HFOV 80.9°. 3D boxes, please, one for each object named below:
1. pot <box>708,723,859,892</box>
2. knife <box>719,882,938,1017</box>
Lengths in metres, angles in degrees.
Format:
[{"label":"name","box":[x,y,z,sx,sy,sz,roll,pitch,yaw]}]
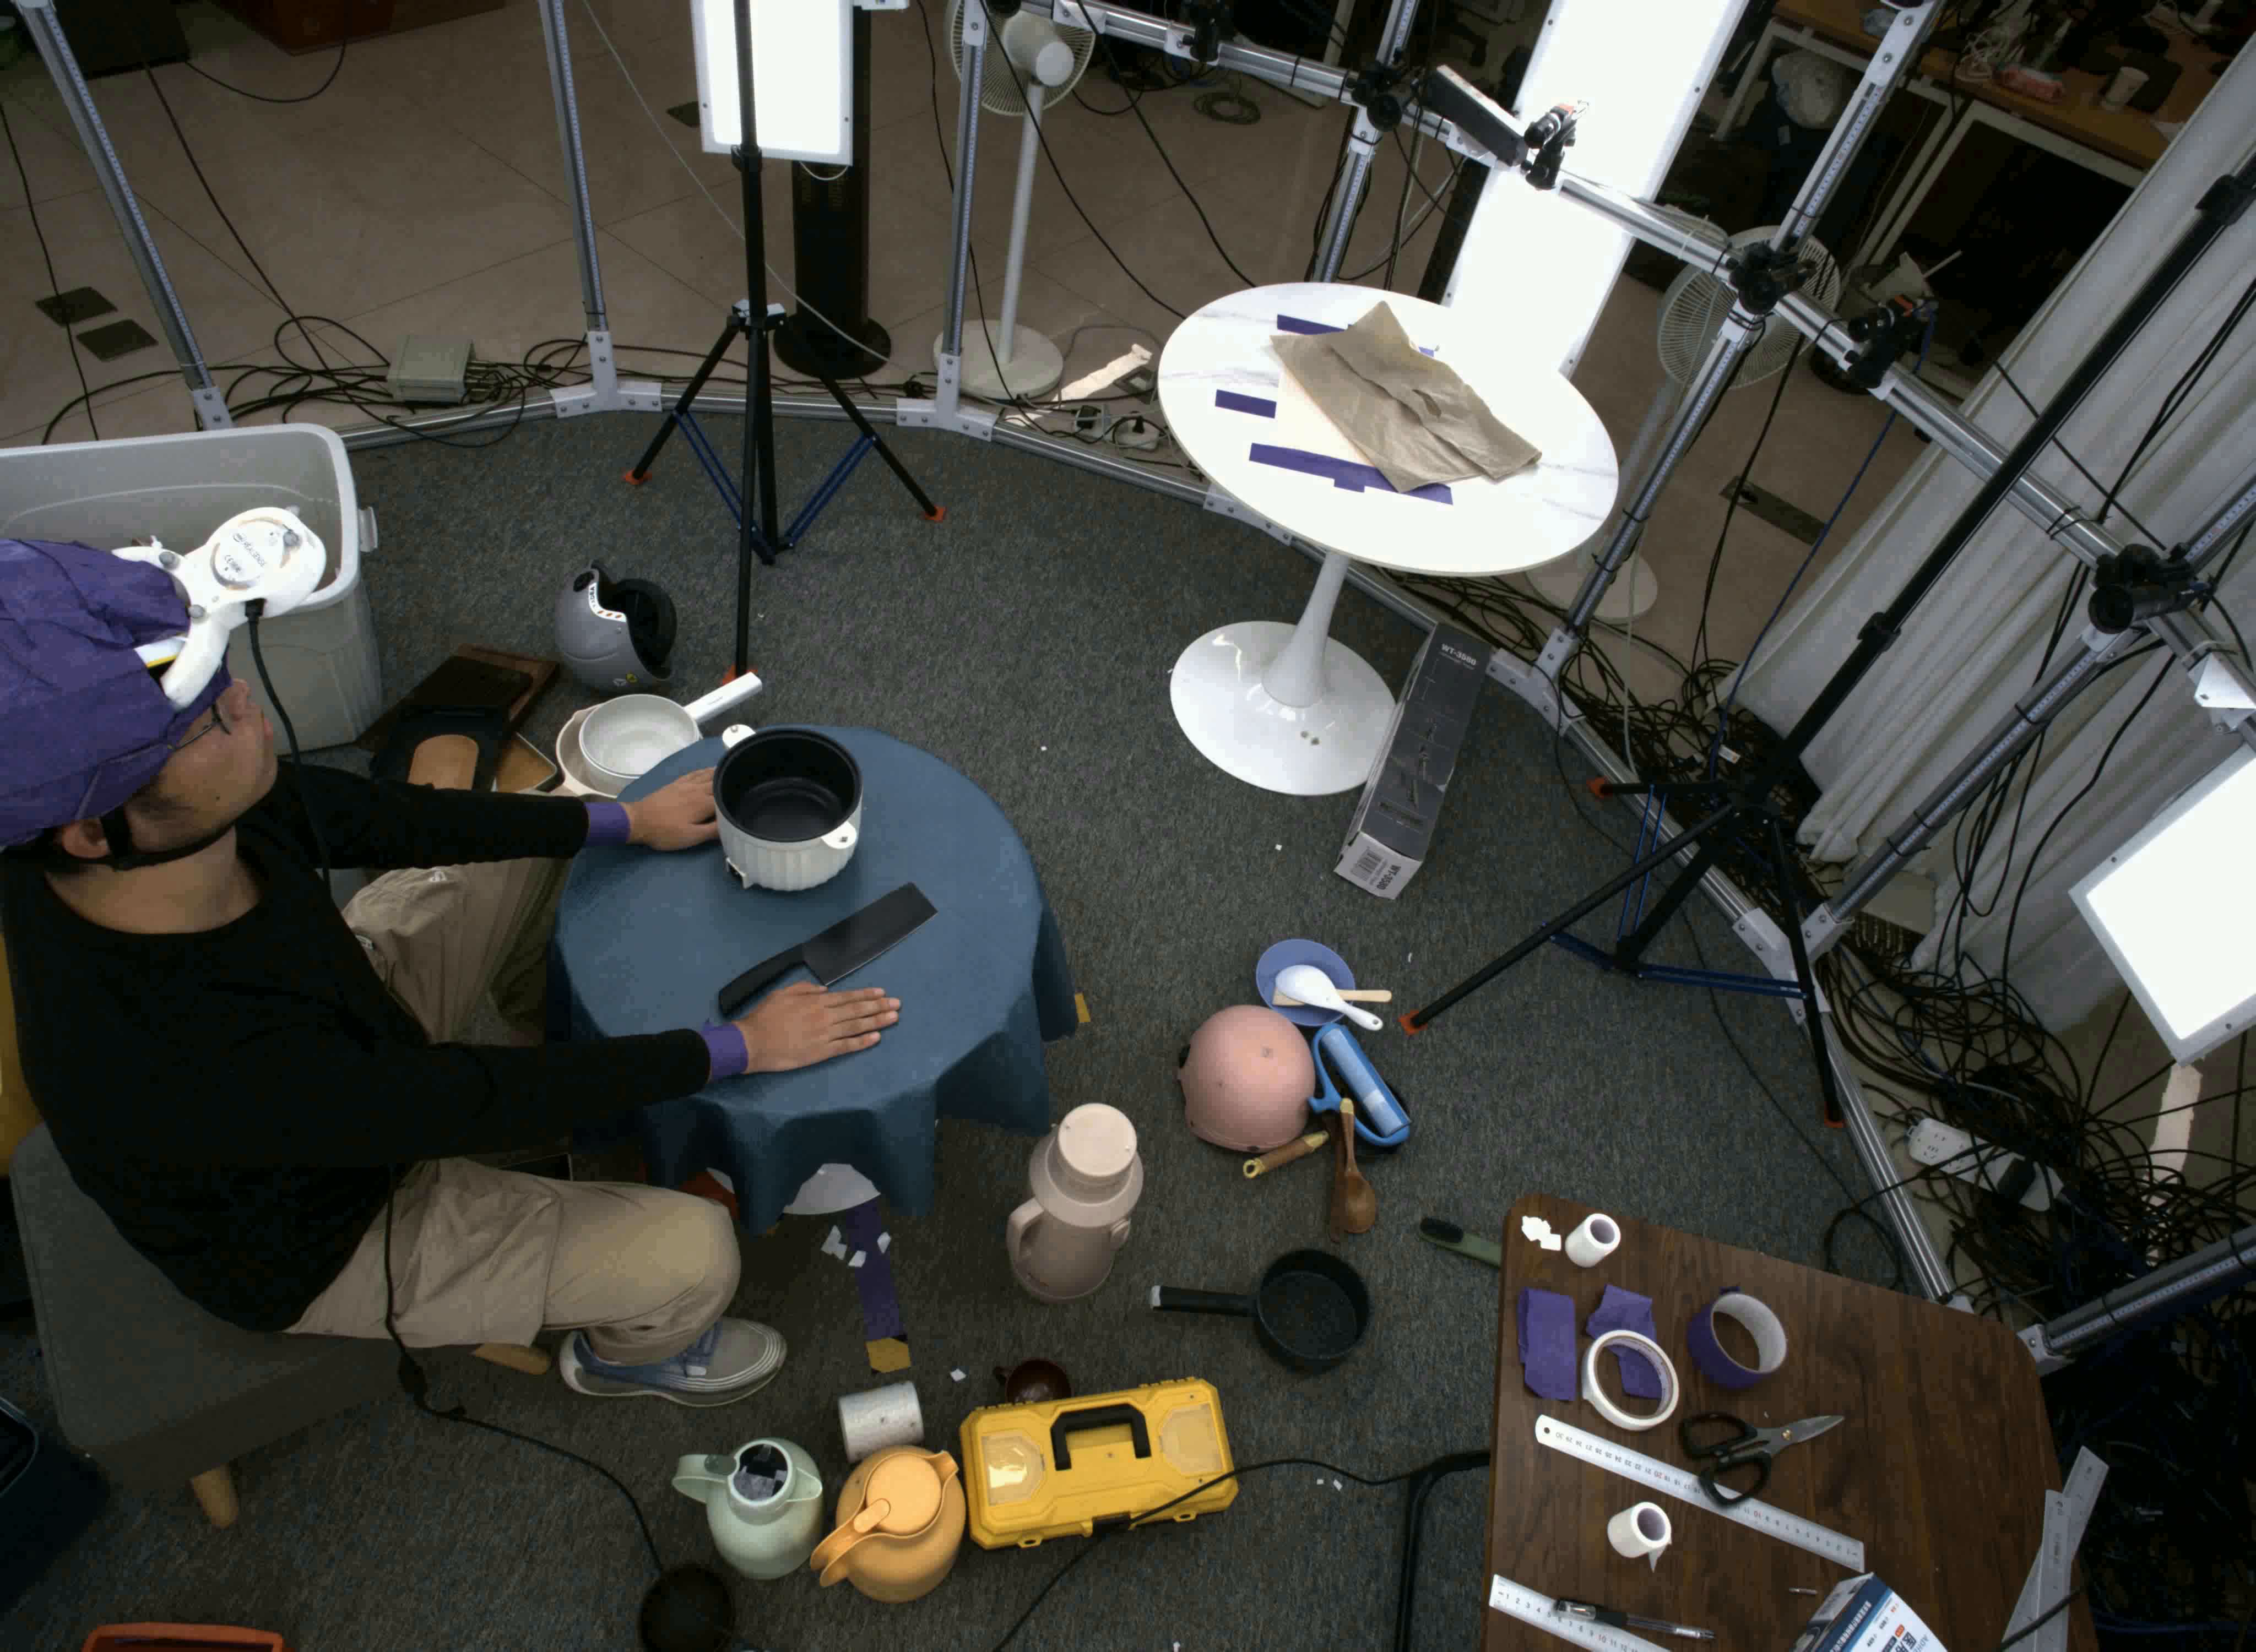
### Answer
[{"label":"pot","box":[-0.428,-0.019,1.645,0.235,0.145,0.191,41,58,16]},{"label":"knife","box":[-0.371,0.154,1.611,0.304,0.021,0.079,-27,65,-32]}]
